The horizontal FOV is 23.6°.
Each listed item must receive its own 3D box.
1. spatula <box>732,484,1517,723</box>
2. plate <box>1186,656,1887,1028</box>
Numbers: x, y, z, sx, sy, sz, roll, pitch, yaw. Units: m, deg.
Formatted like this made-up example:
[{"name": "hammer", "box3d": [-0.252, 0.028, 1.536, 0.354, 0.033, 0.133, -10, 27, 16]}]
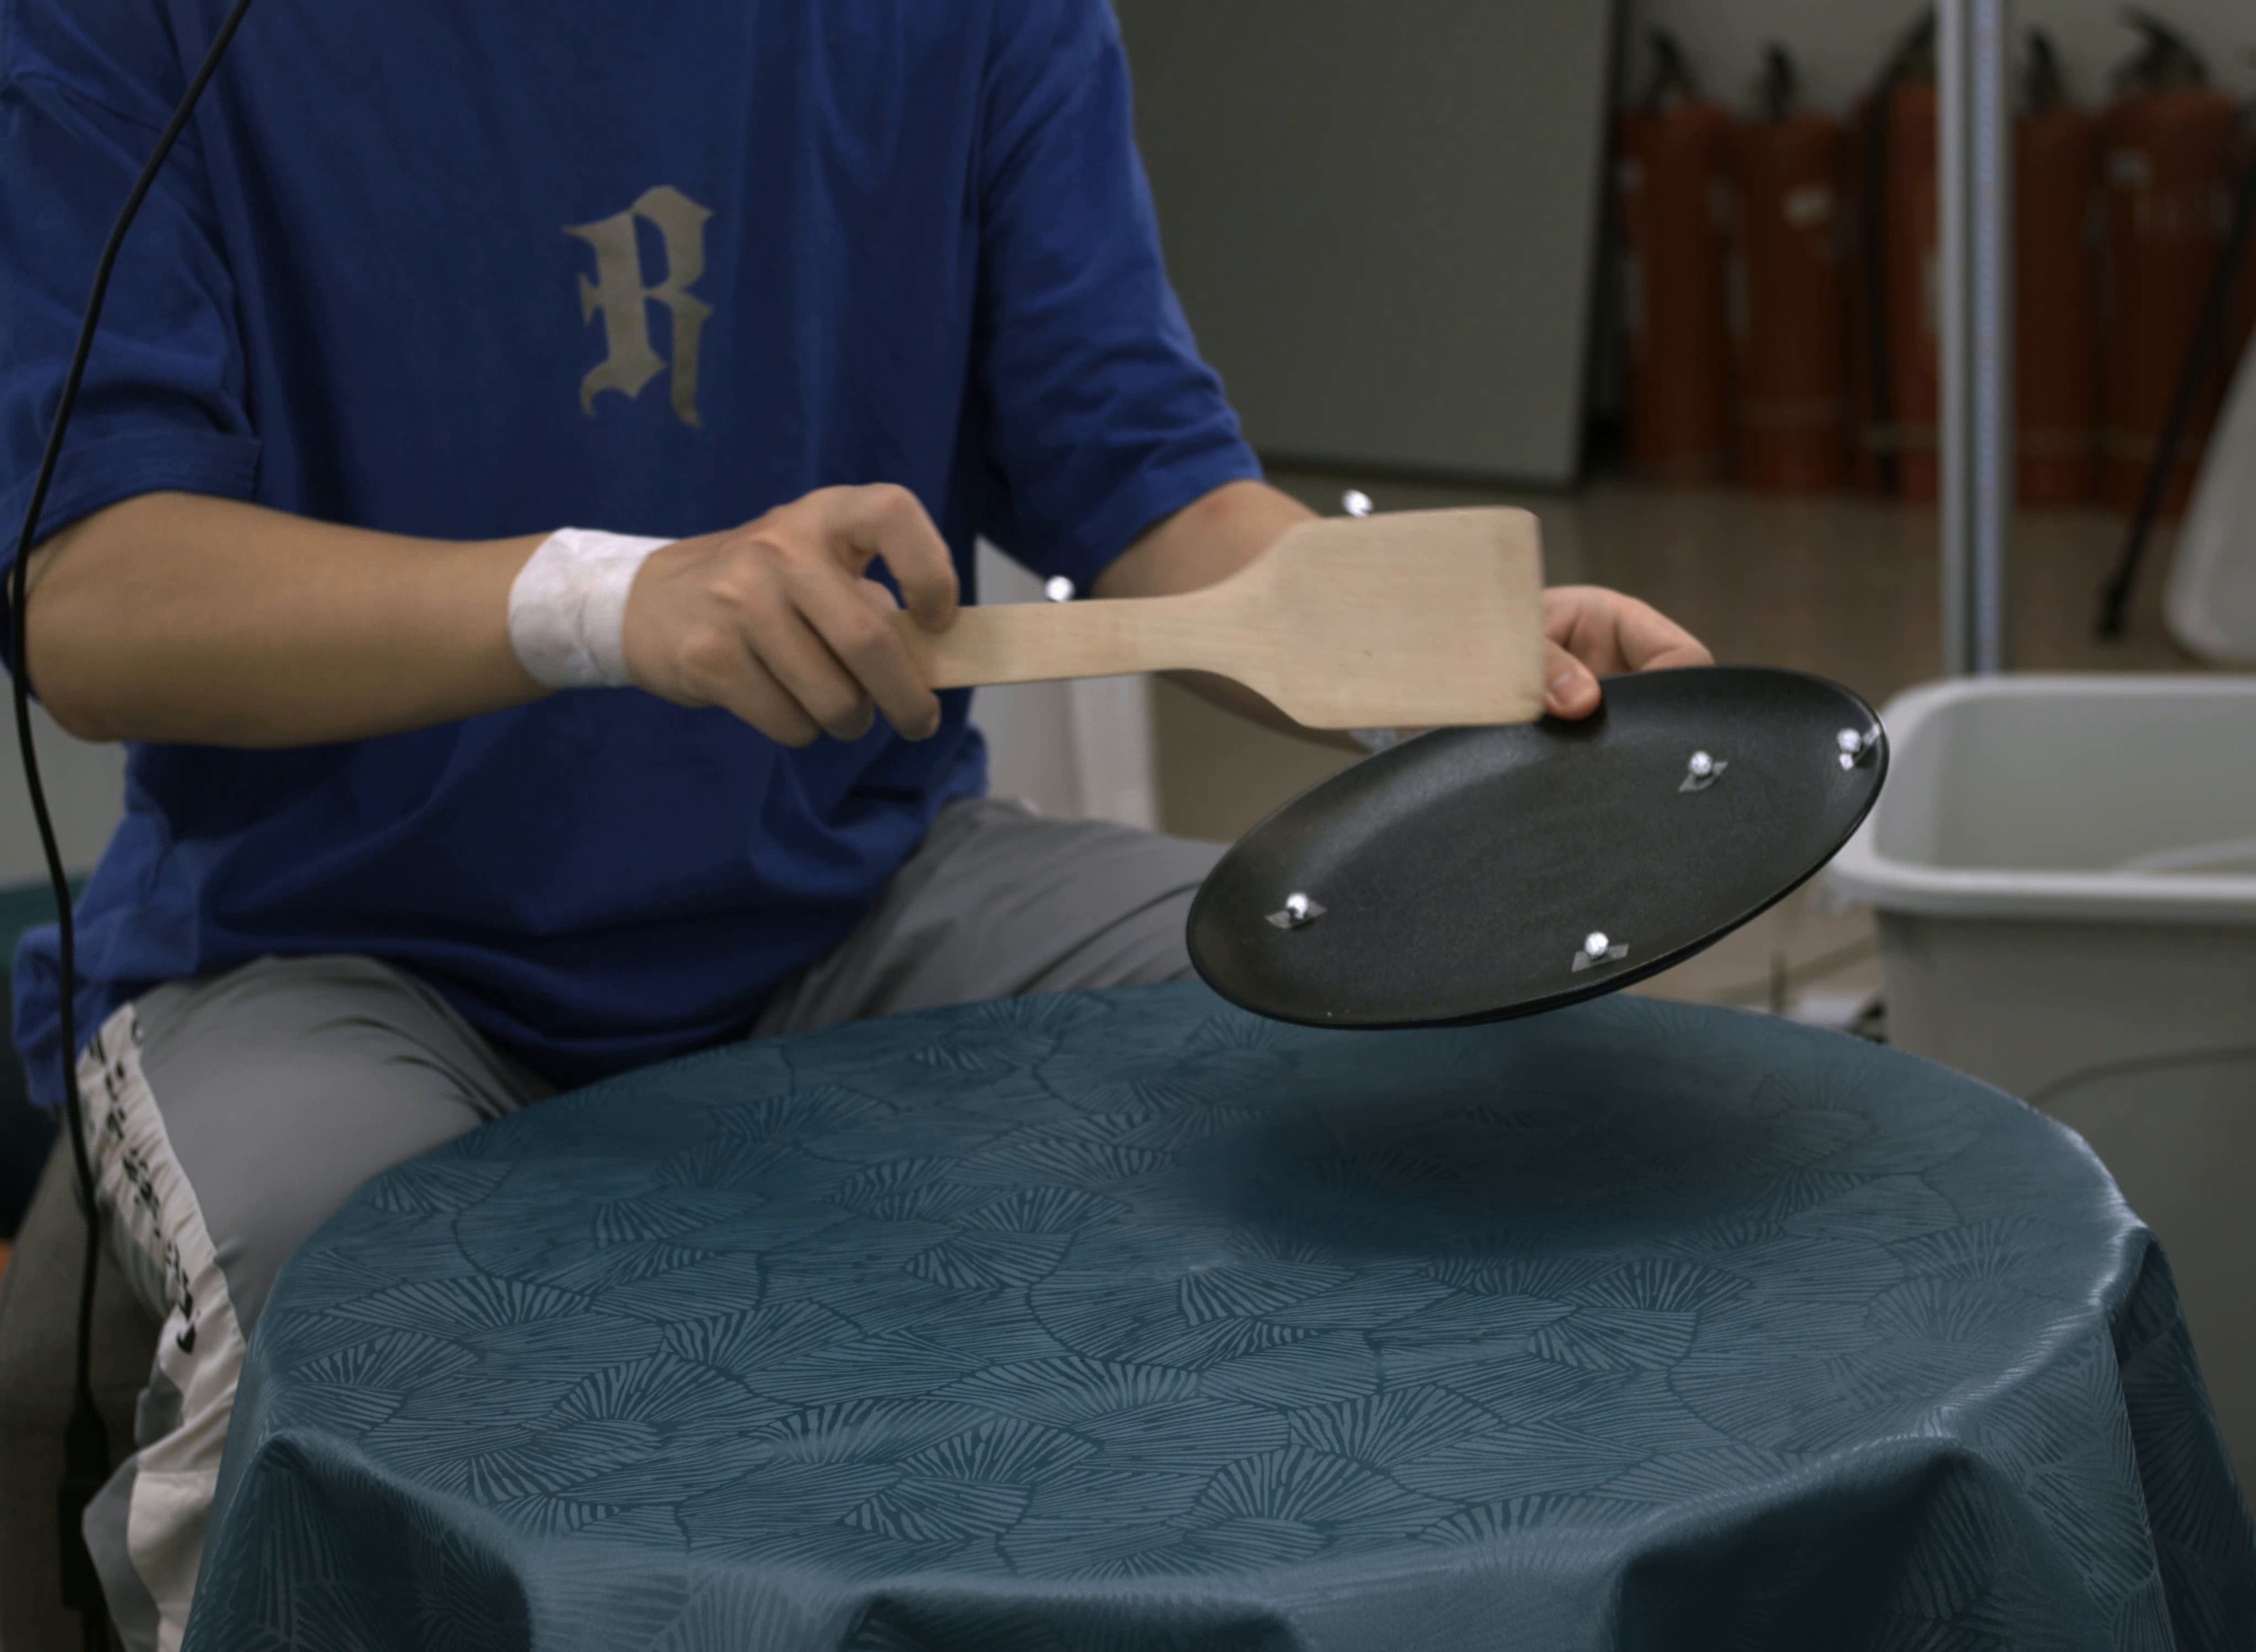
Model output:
[{"name": "spatula", "box3d": [-0.007, -0.065, 1.771, 0.294, 0.073, 0.010, -4, -1, 29]}, {"name": "plate", "box3d": [0.136, 0.011, 1.779, 0.242, 0.023, 0.245, -18, 22, 6]}]
